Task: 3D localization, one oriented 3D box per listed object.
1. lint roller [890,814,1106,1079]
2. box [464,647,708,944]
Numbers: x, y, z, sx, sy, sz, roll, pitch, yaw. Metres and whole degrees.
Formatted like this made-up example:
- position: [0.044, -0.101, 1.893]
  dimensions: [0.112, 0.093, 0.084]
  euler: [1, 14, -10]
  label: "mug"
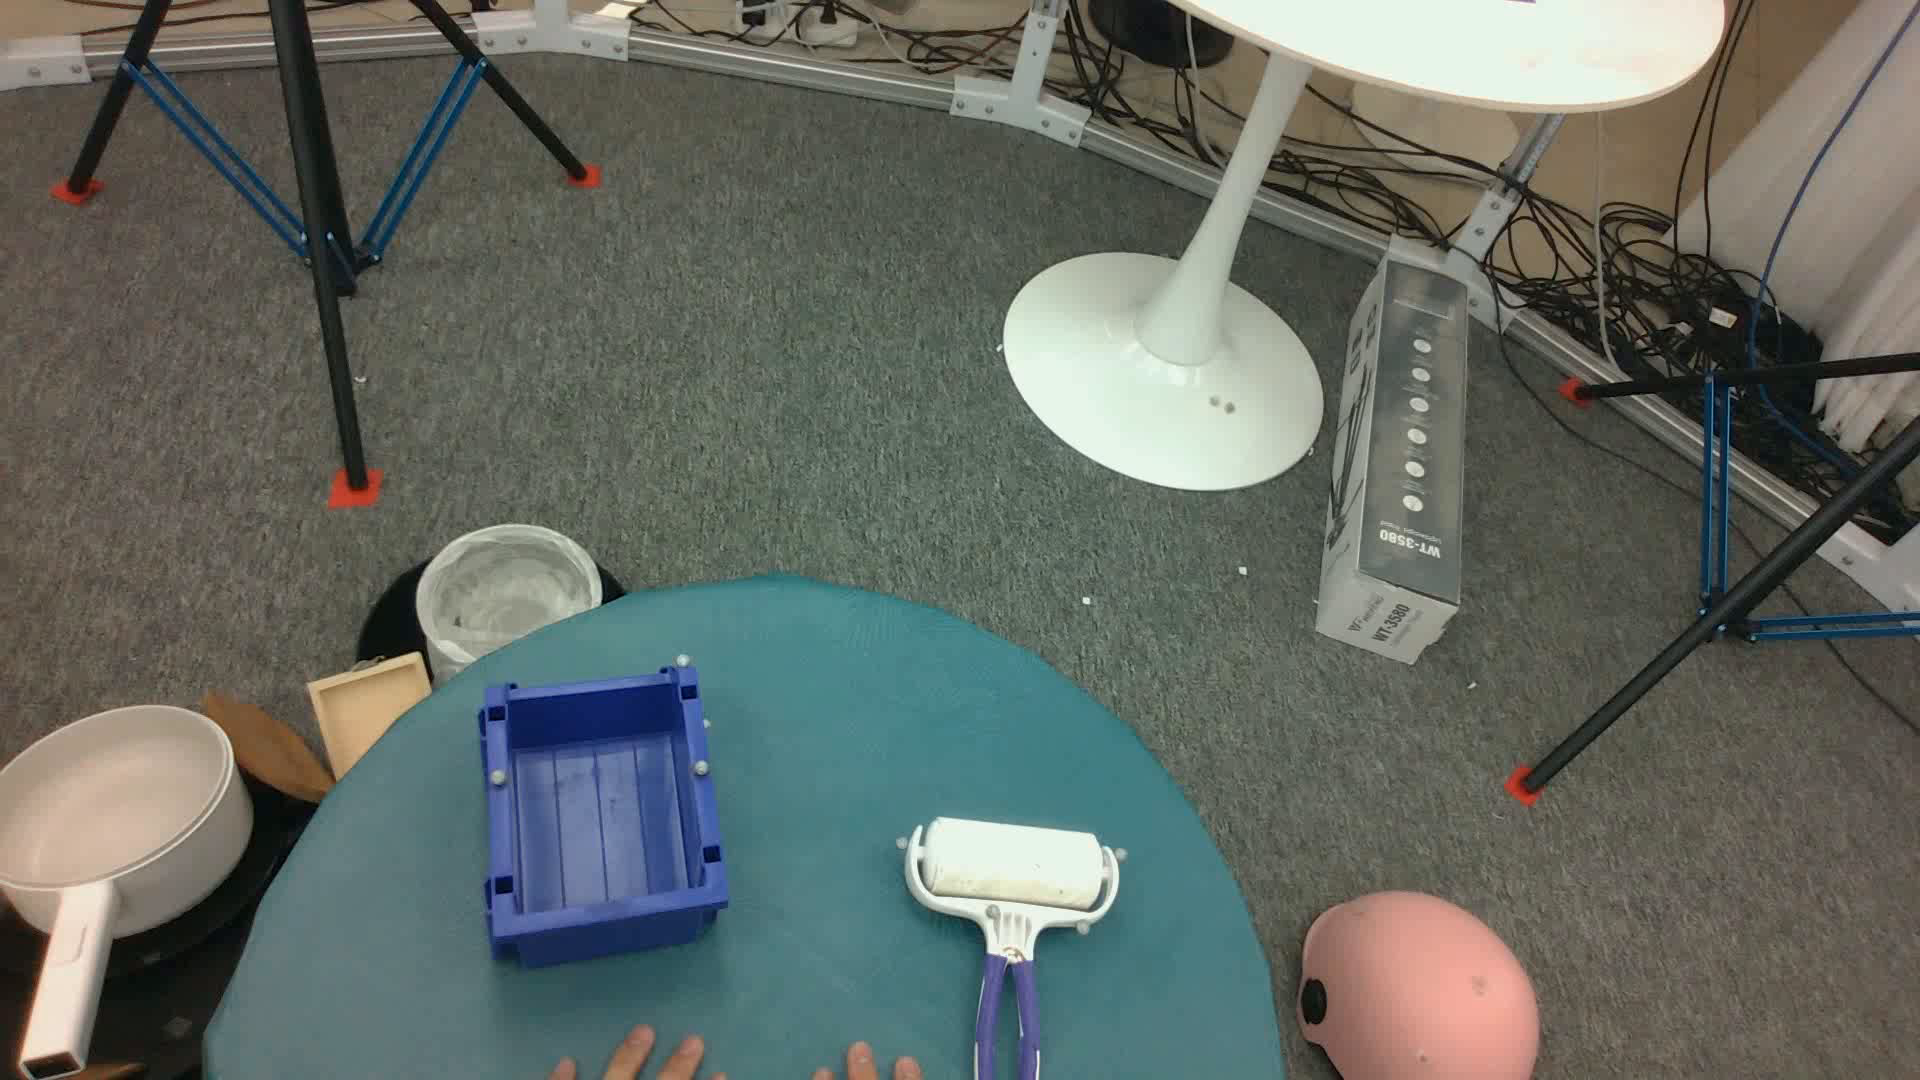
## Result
- position: [0.021, 0.247, 0.807]
  dimensions: [0.133, 0.050, 0.181]
  euler: [10, 48, -8]
  label: "lint roller"
- position: [-0.223, 0.141, 0.806]
  dimensions: [0.125, 0.081, 0.180]
  euler: [-4, 56, -17]
  label: "box"
